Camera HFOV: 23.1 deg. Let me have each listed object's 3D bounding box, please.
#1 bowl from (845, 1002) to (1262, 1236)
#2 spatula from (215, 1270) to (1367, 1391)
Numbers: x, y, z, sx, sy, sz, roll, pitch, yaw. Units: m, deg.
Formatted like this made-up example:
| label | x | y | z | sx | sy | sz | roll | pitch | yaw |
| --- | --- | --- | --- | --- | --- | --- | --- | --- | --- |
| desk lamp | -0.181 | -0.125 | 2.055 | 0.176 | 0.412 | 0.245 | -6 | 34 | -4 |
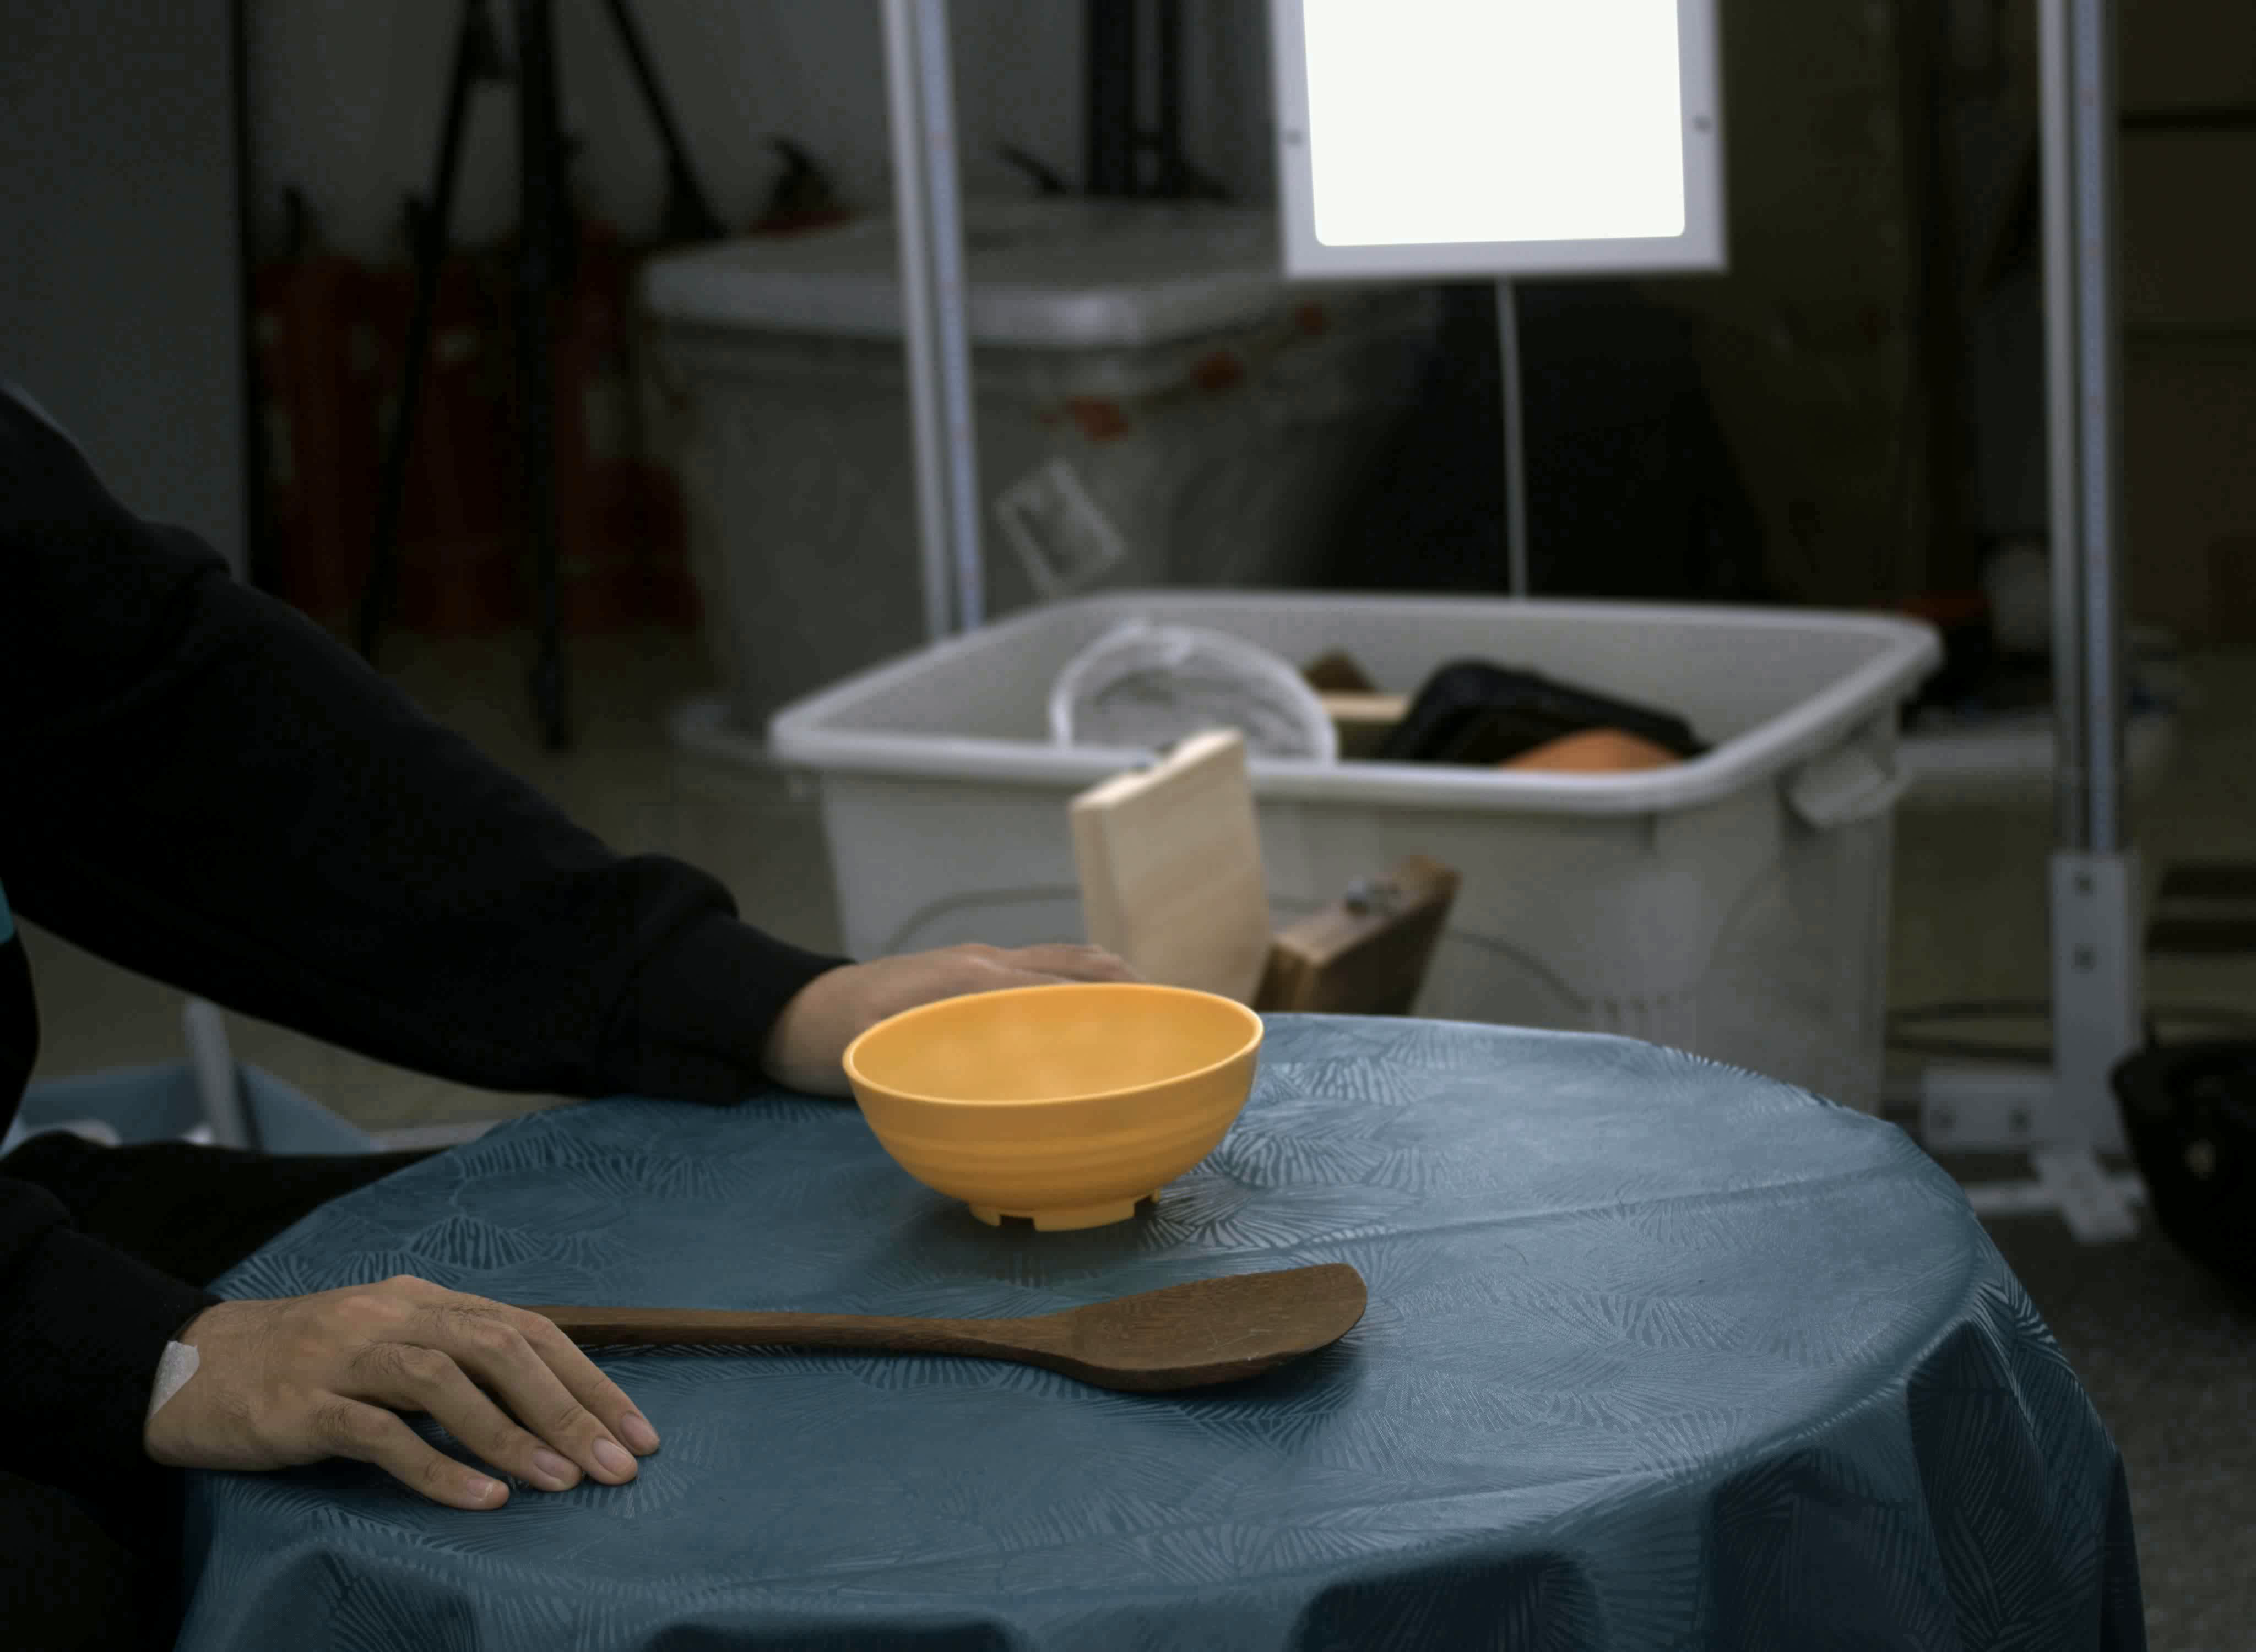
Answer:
| label | x | y | z | sx | sy | sz | roll | pitch | yaw |
| --- | --- | --- | --- | --- | --- | --- | --- | --- | --- |
| bowl | -0.024 | 0.104 | 1.885 | 0.145 | 0.060 | 0.145 | -5 | 11 | 0 |
| spatula | -0.113 | 0.161 | 1.768 | 0.390 | 0.016 | 0.095 | -1 | 14 | 16 |
